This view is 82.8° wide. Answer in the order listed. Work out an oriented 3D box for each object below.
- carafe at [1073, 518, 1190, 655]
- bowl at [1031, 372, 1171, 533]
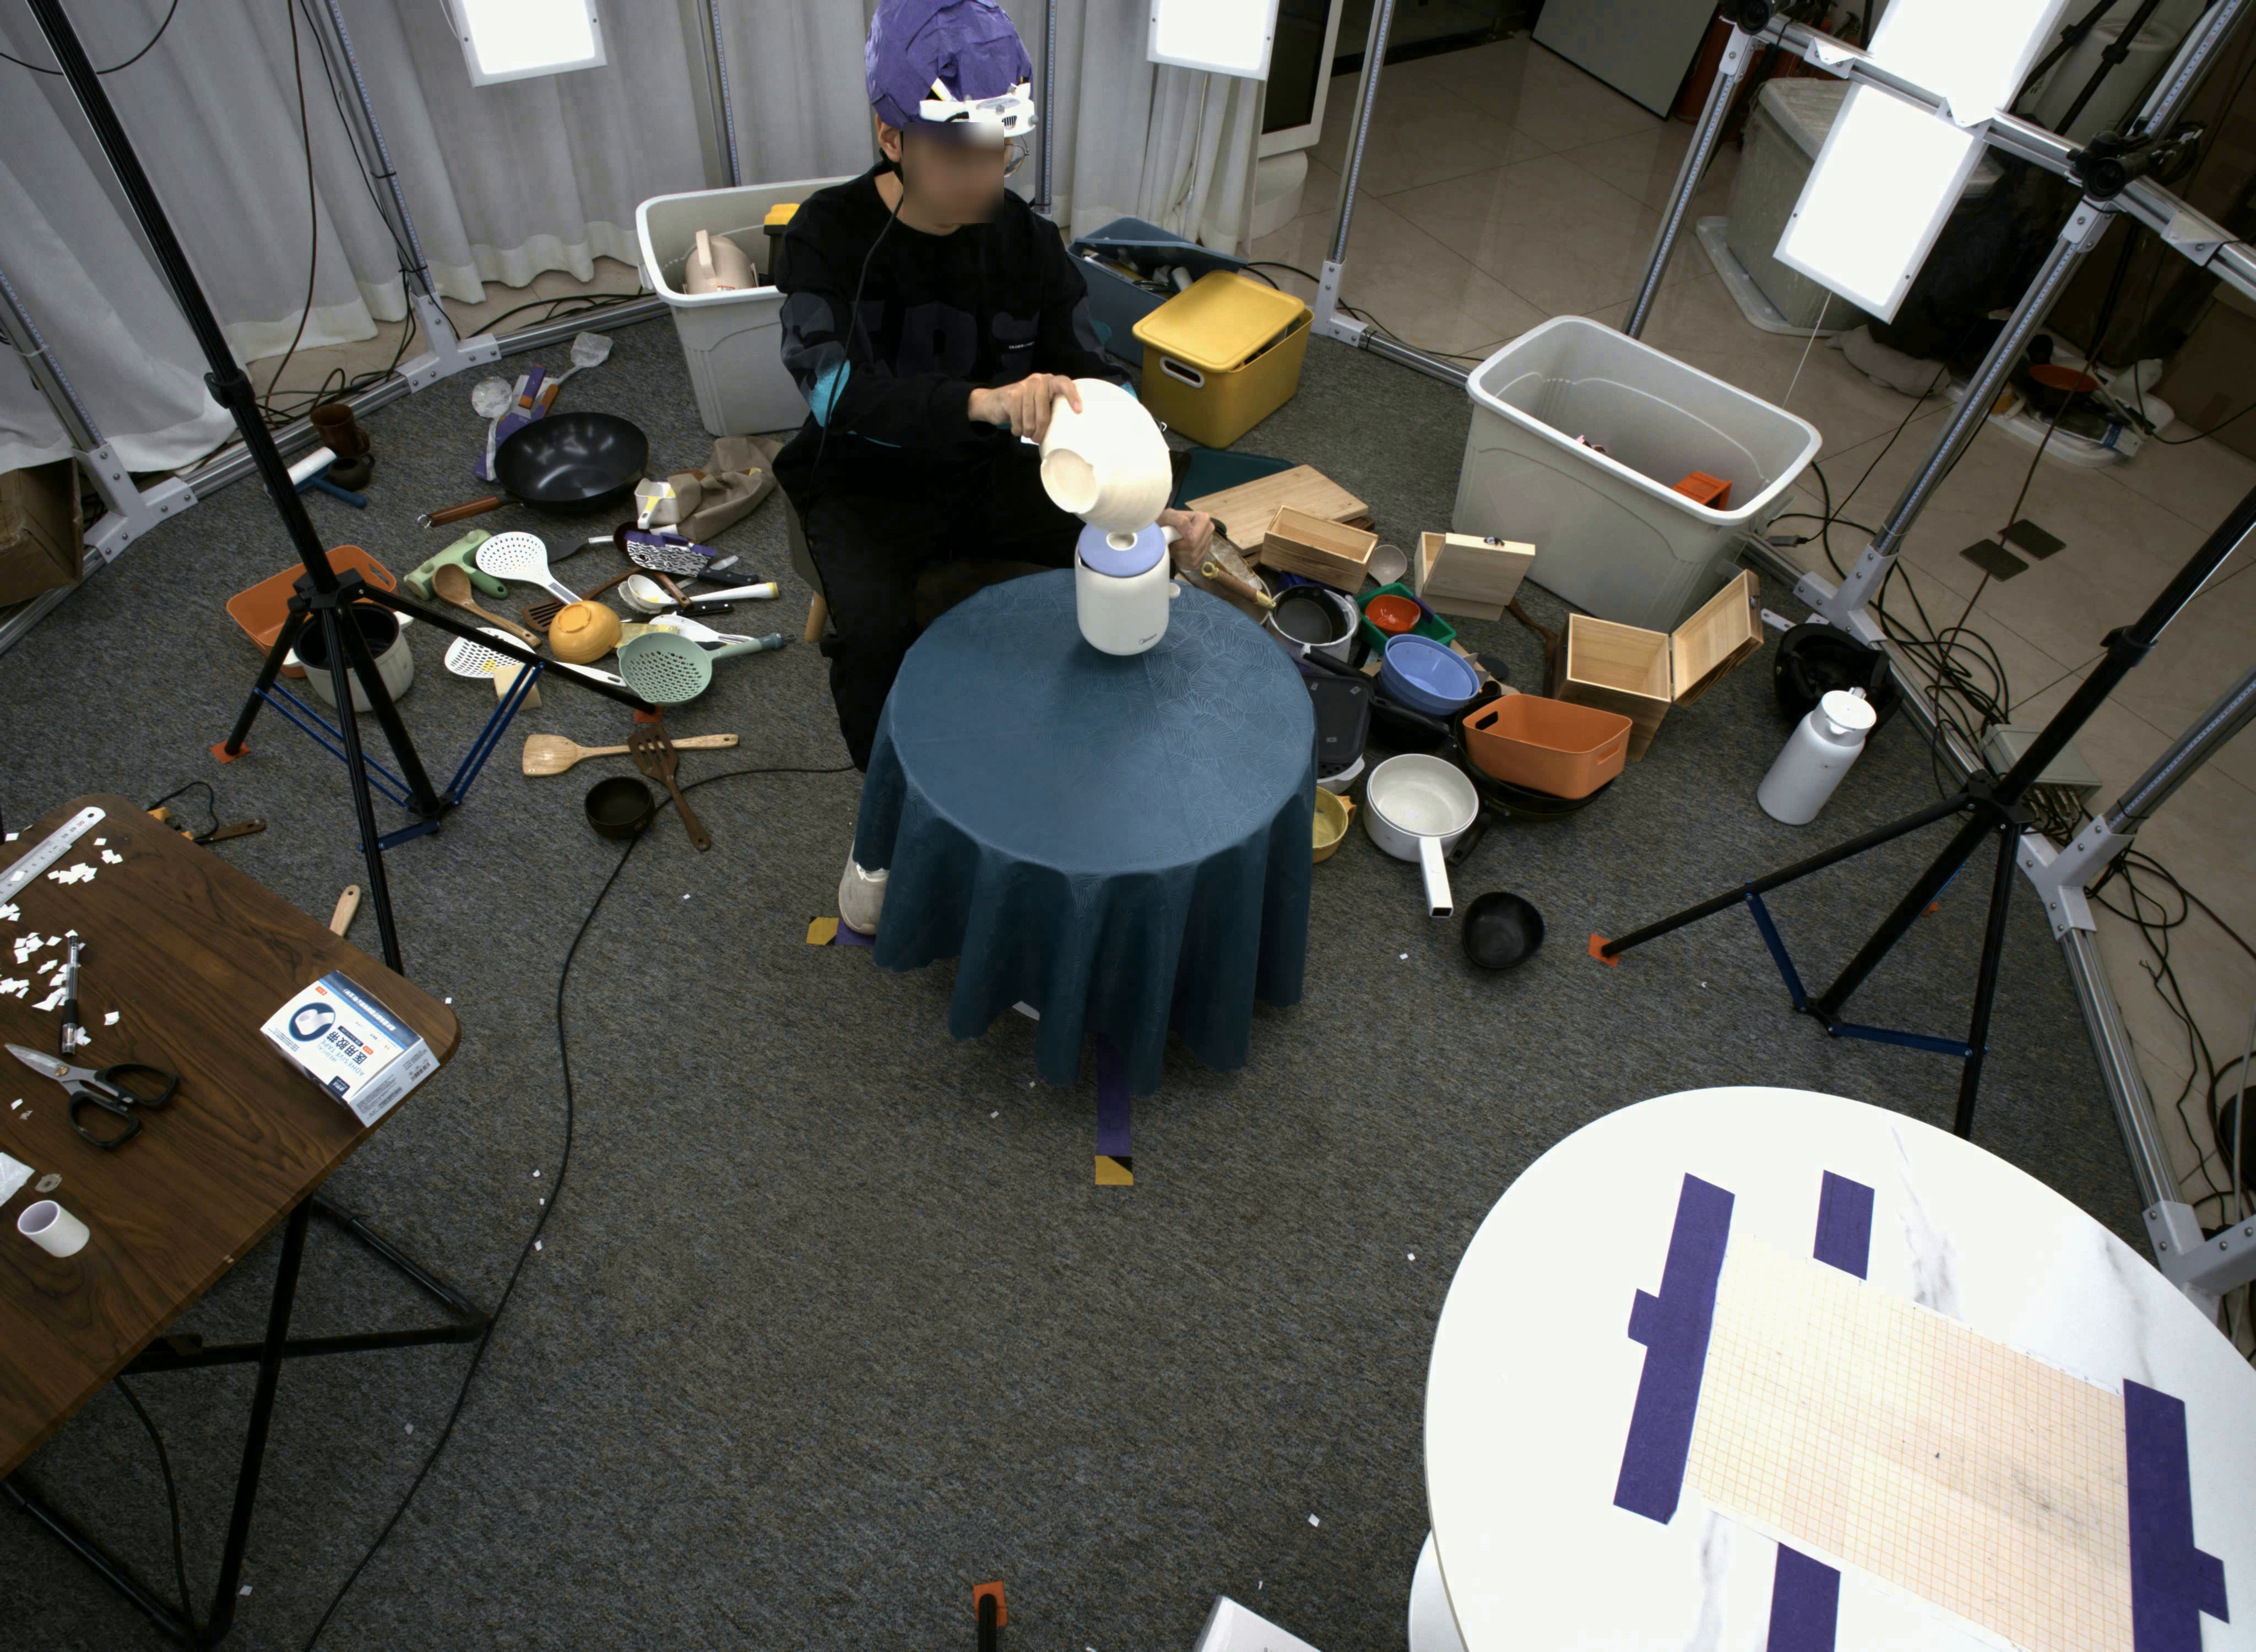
[{"bbox_3d":[0.011,-0.351,1.806,0.192,0.178,0.134,-29,63,-19],"label":"carafe"},{"bbox_3d":[-0.053,-0.439,1.579,0.206,0.199,0.079,27,46,18],"label":"bowl"}]
